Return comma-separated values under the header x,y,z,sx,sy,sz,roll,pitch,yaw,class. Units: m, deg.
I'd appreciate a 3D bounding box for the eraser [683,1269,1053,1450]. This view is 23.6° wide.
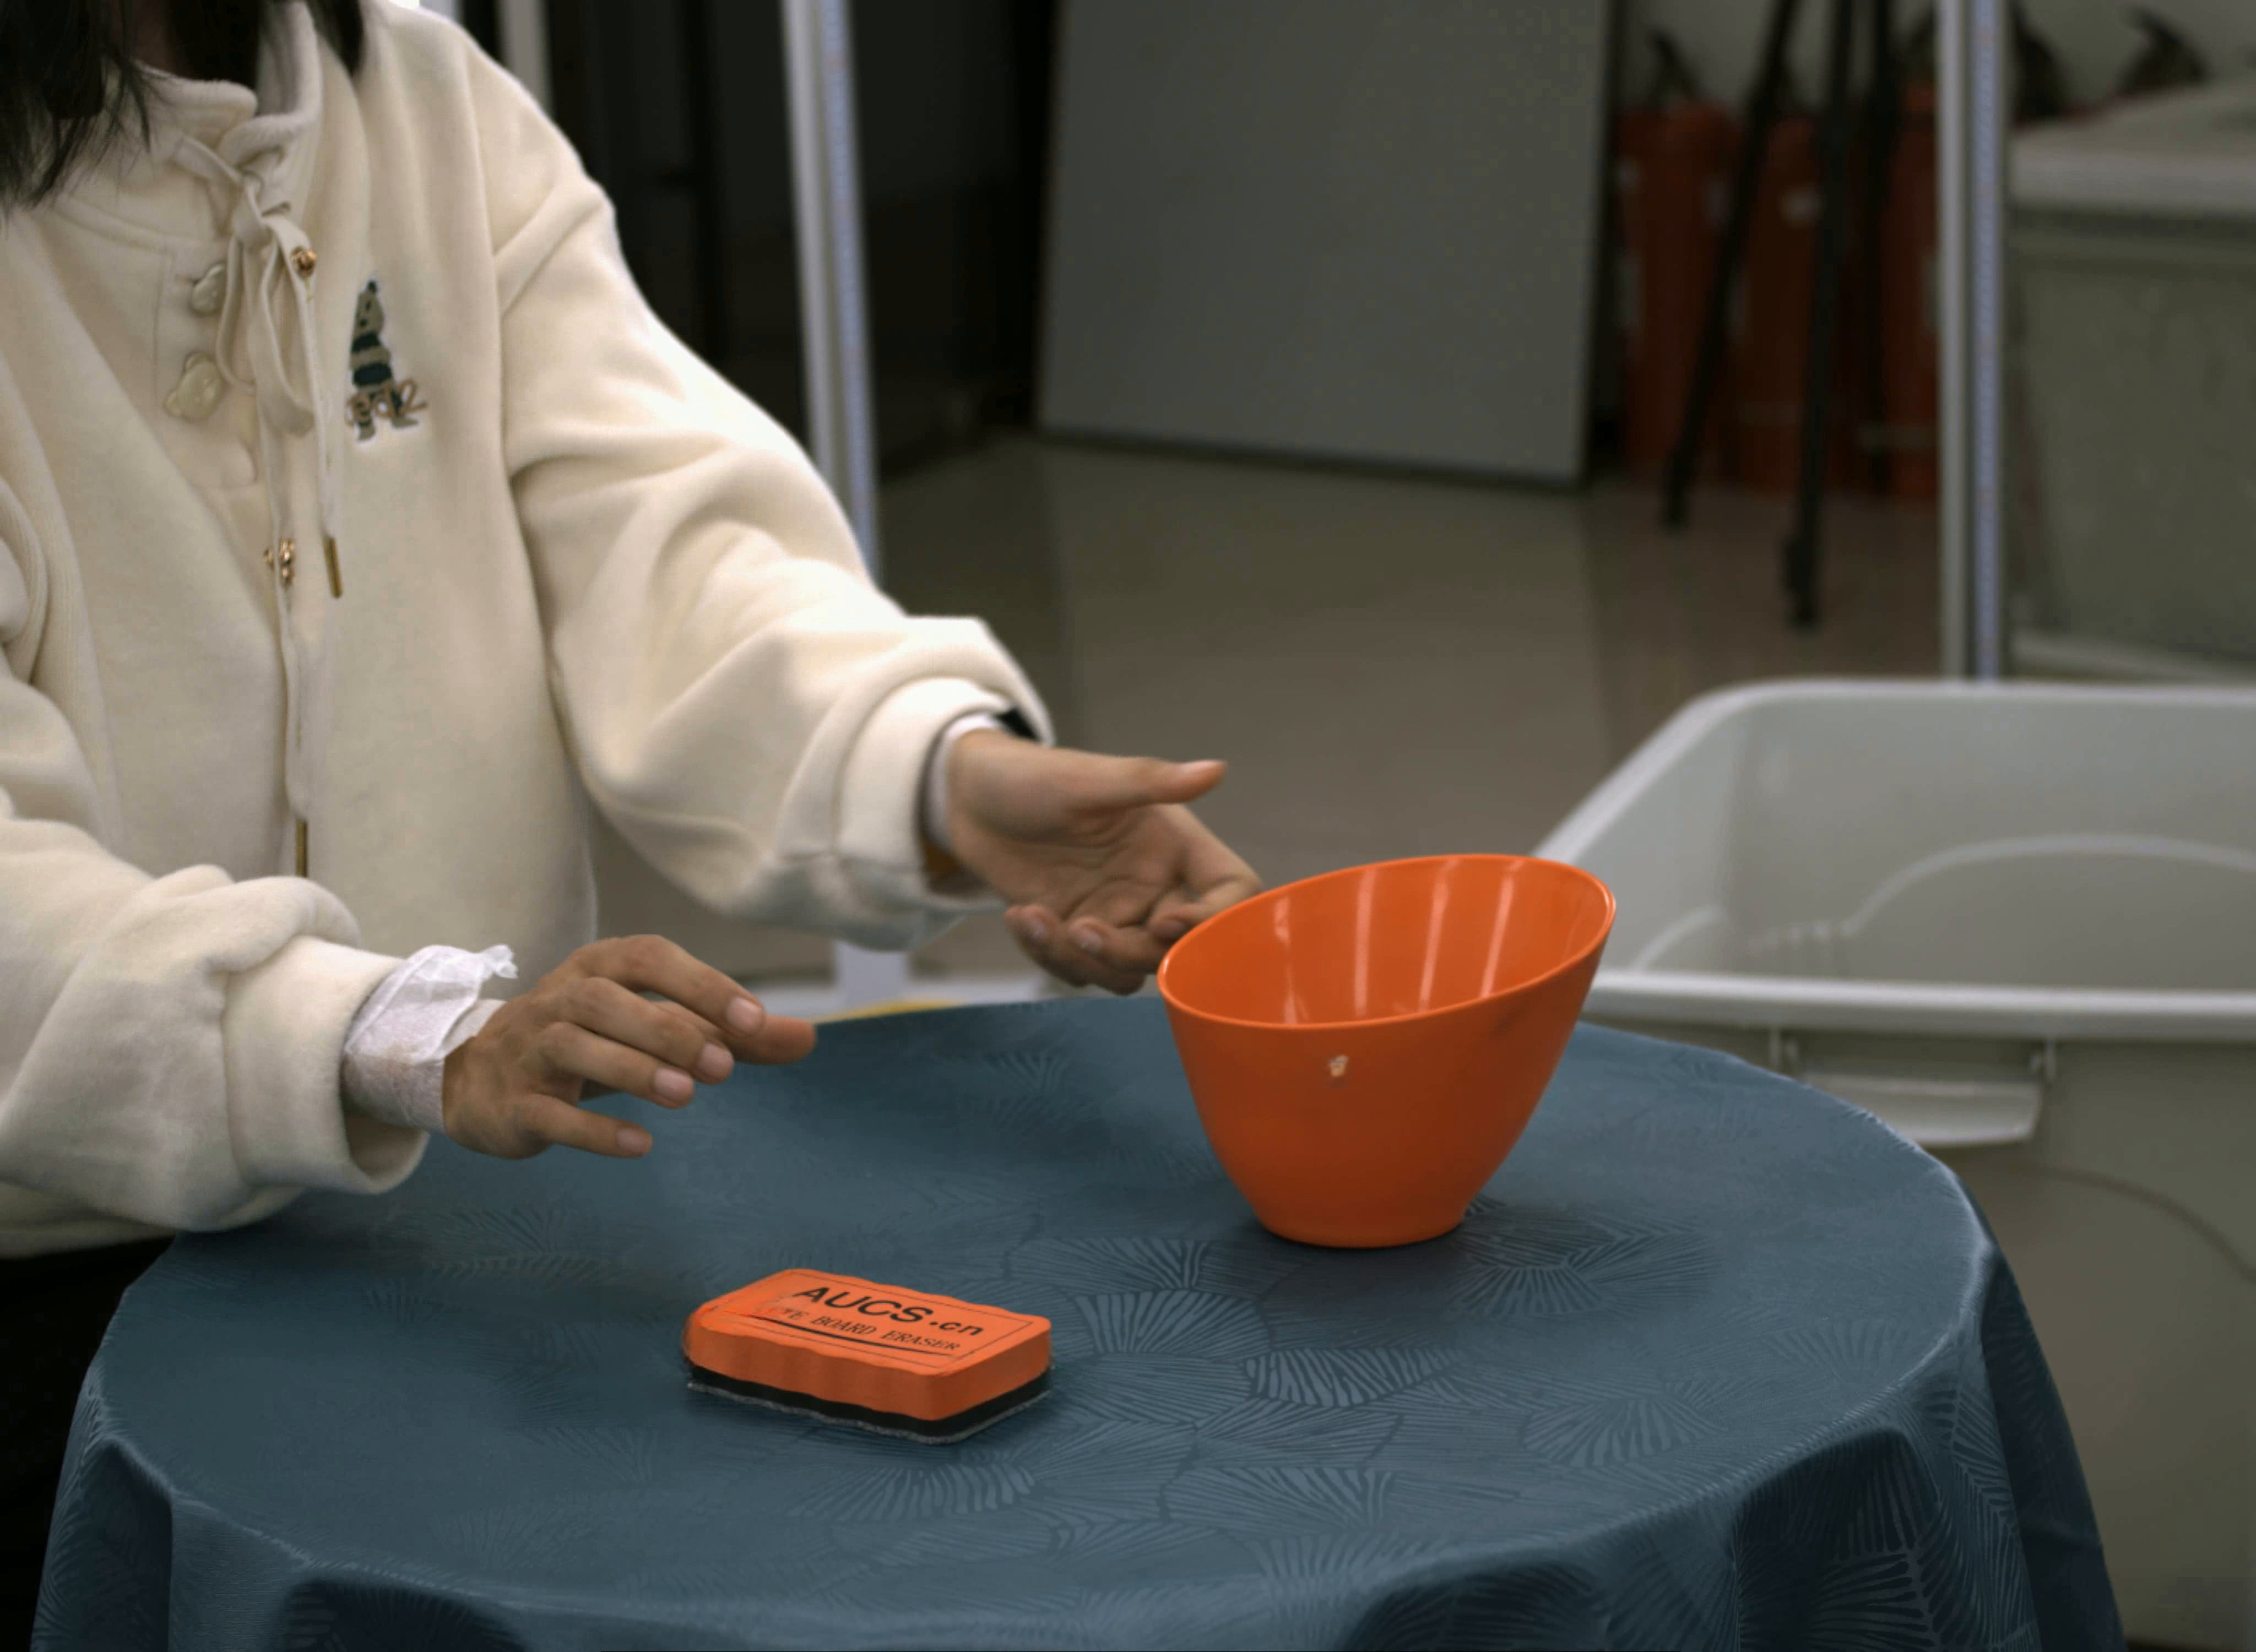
x,y,z,sx,sy,sz,roll,pitch,yaw,class
-0.077,0.157,1.598,0.109,0.023,0.058,7,20,40,eraser

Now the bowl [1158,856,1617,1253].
x,y,z,sx,sy,sz,roll,pitch,yaw,class
0.083,0.075,1.715,0.146,0.106,0.148,-1,13,-1,bowl
